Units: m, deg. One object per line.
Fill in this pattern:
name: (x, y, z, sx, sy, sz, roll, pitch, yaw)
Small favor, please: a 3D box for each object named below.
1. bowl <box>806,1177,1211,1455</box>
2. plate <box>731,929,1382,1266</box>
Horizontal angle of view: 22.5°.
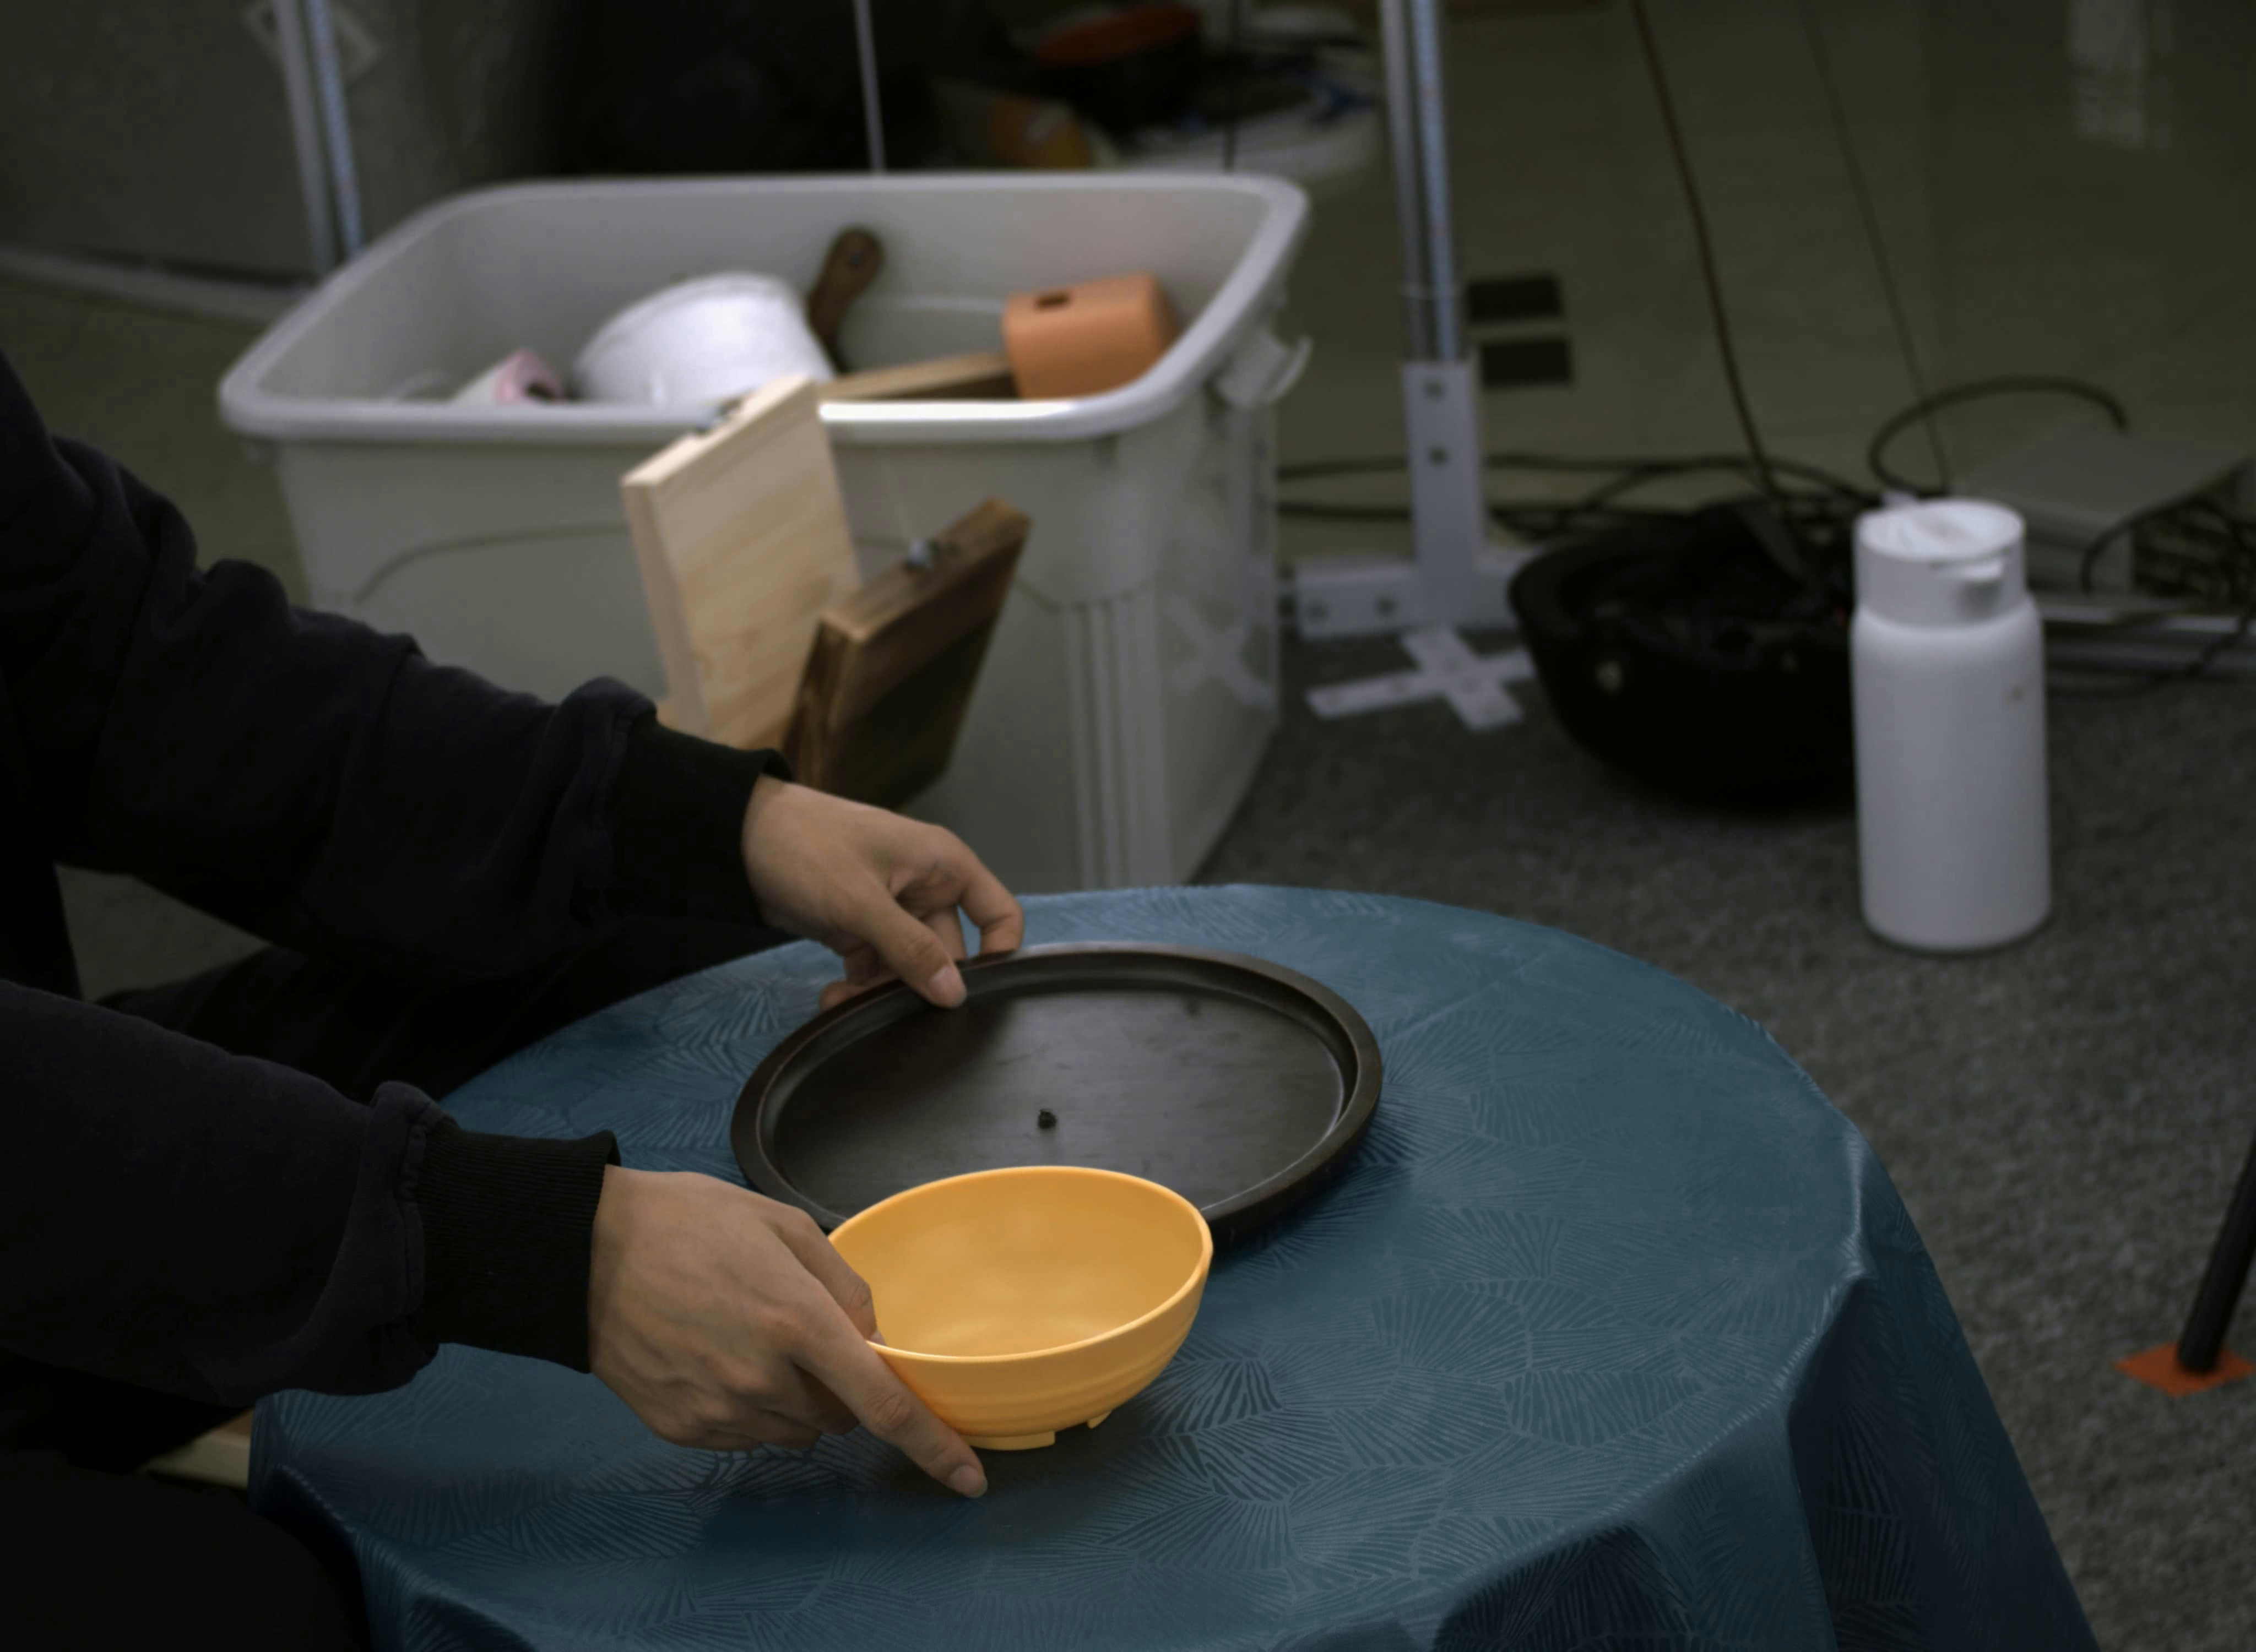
bowl: (-0.038, 0.180, 2.004, 0.145, 0.061, 0.143, -7, 22, 3)
plate: (-0.027, 0.112, 2.189, 0.254, 0.029, 0.251, -6, 27, 3)
